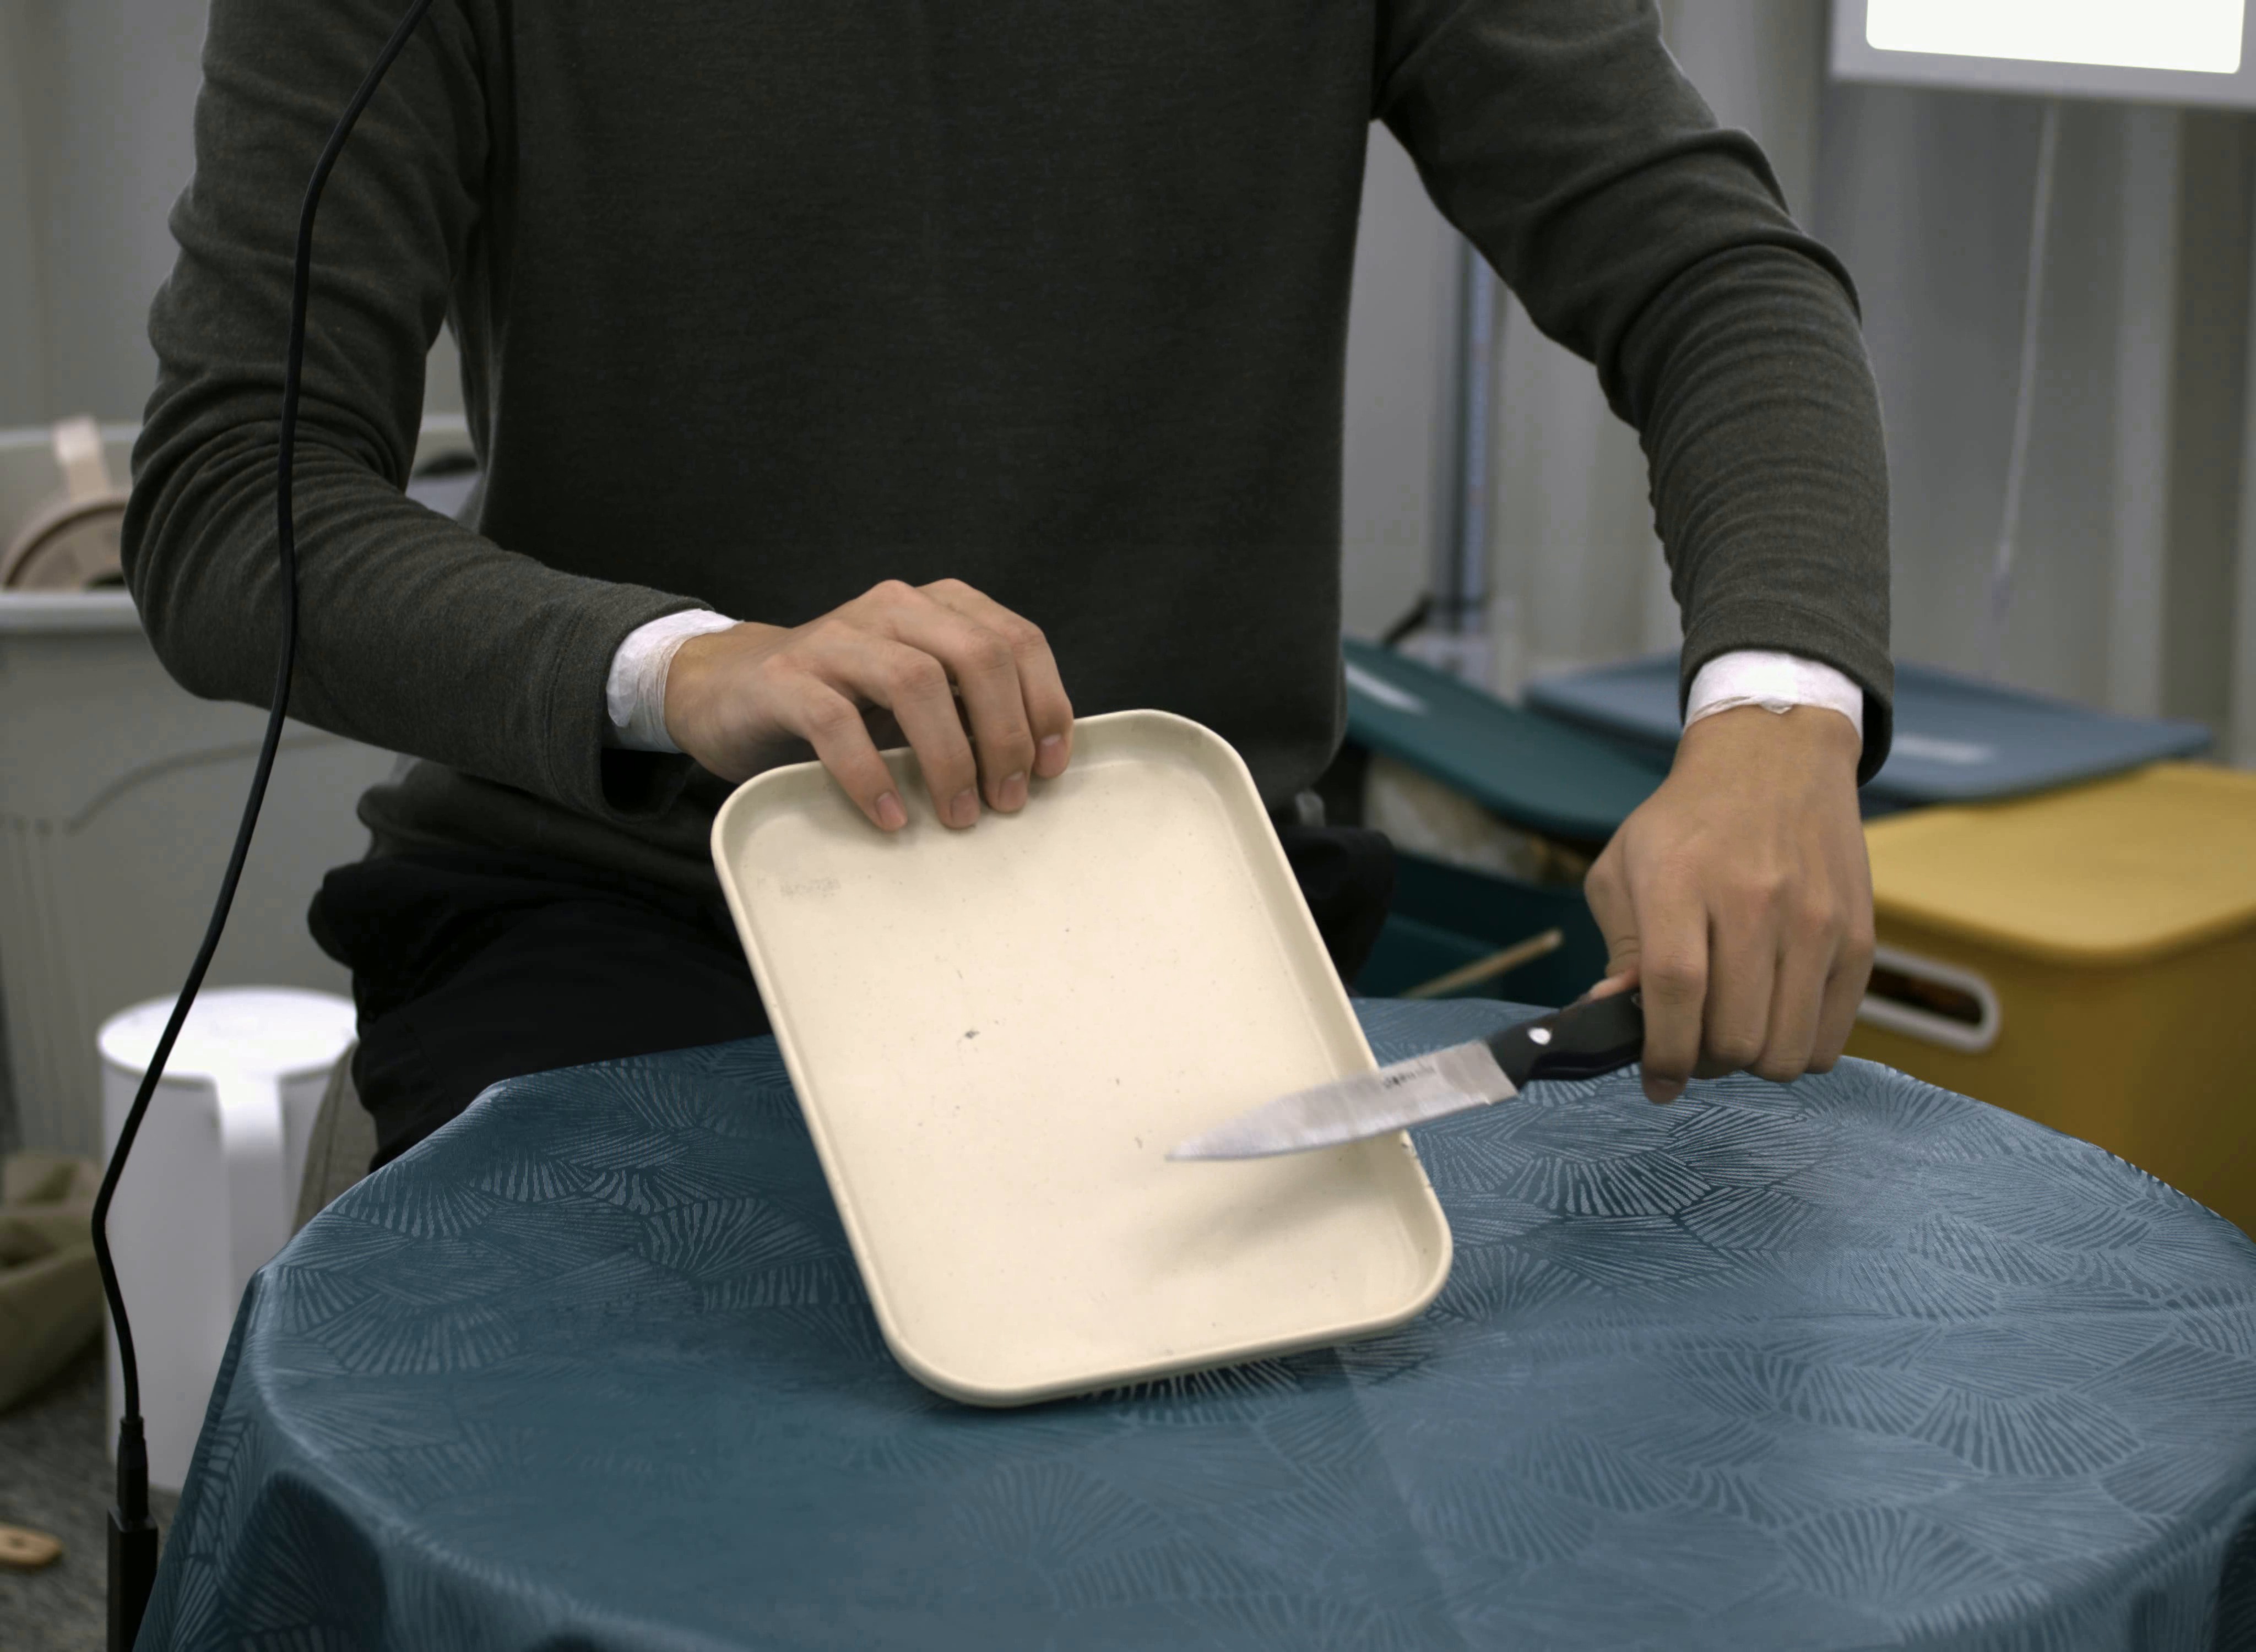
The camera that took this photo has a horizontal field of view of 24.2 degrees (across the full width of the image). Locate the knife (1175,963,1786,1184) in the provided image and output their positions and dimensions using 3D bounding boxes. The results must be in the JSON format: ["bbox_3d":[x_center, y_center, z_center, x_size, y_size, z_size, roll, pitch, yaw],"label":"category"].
[{"bbox_3d":[0.104,0.073,1.546,0.239,0.016,0.024,-15,54,-37],"label":"knife"}]

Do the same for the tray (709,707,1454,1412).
[{"bbox_3d":[-0.017,0.065,1.531,0.171,0.017,0.237,-9,52,-17],"label":"tray"}]
